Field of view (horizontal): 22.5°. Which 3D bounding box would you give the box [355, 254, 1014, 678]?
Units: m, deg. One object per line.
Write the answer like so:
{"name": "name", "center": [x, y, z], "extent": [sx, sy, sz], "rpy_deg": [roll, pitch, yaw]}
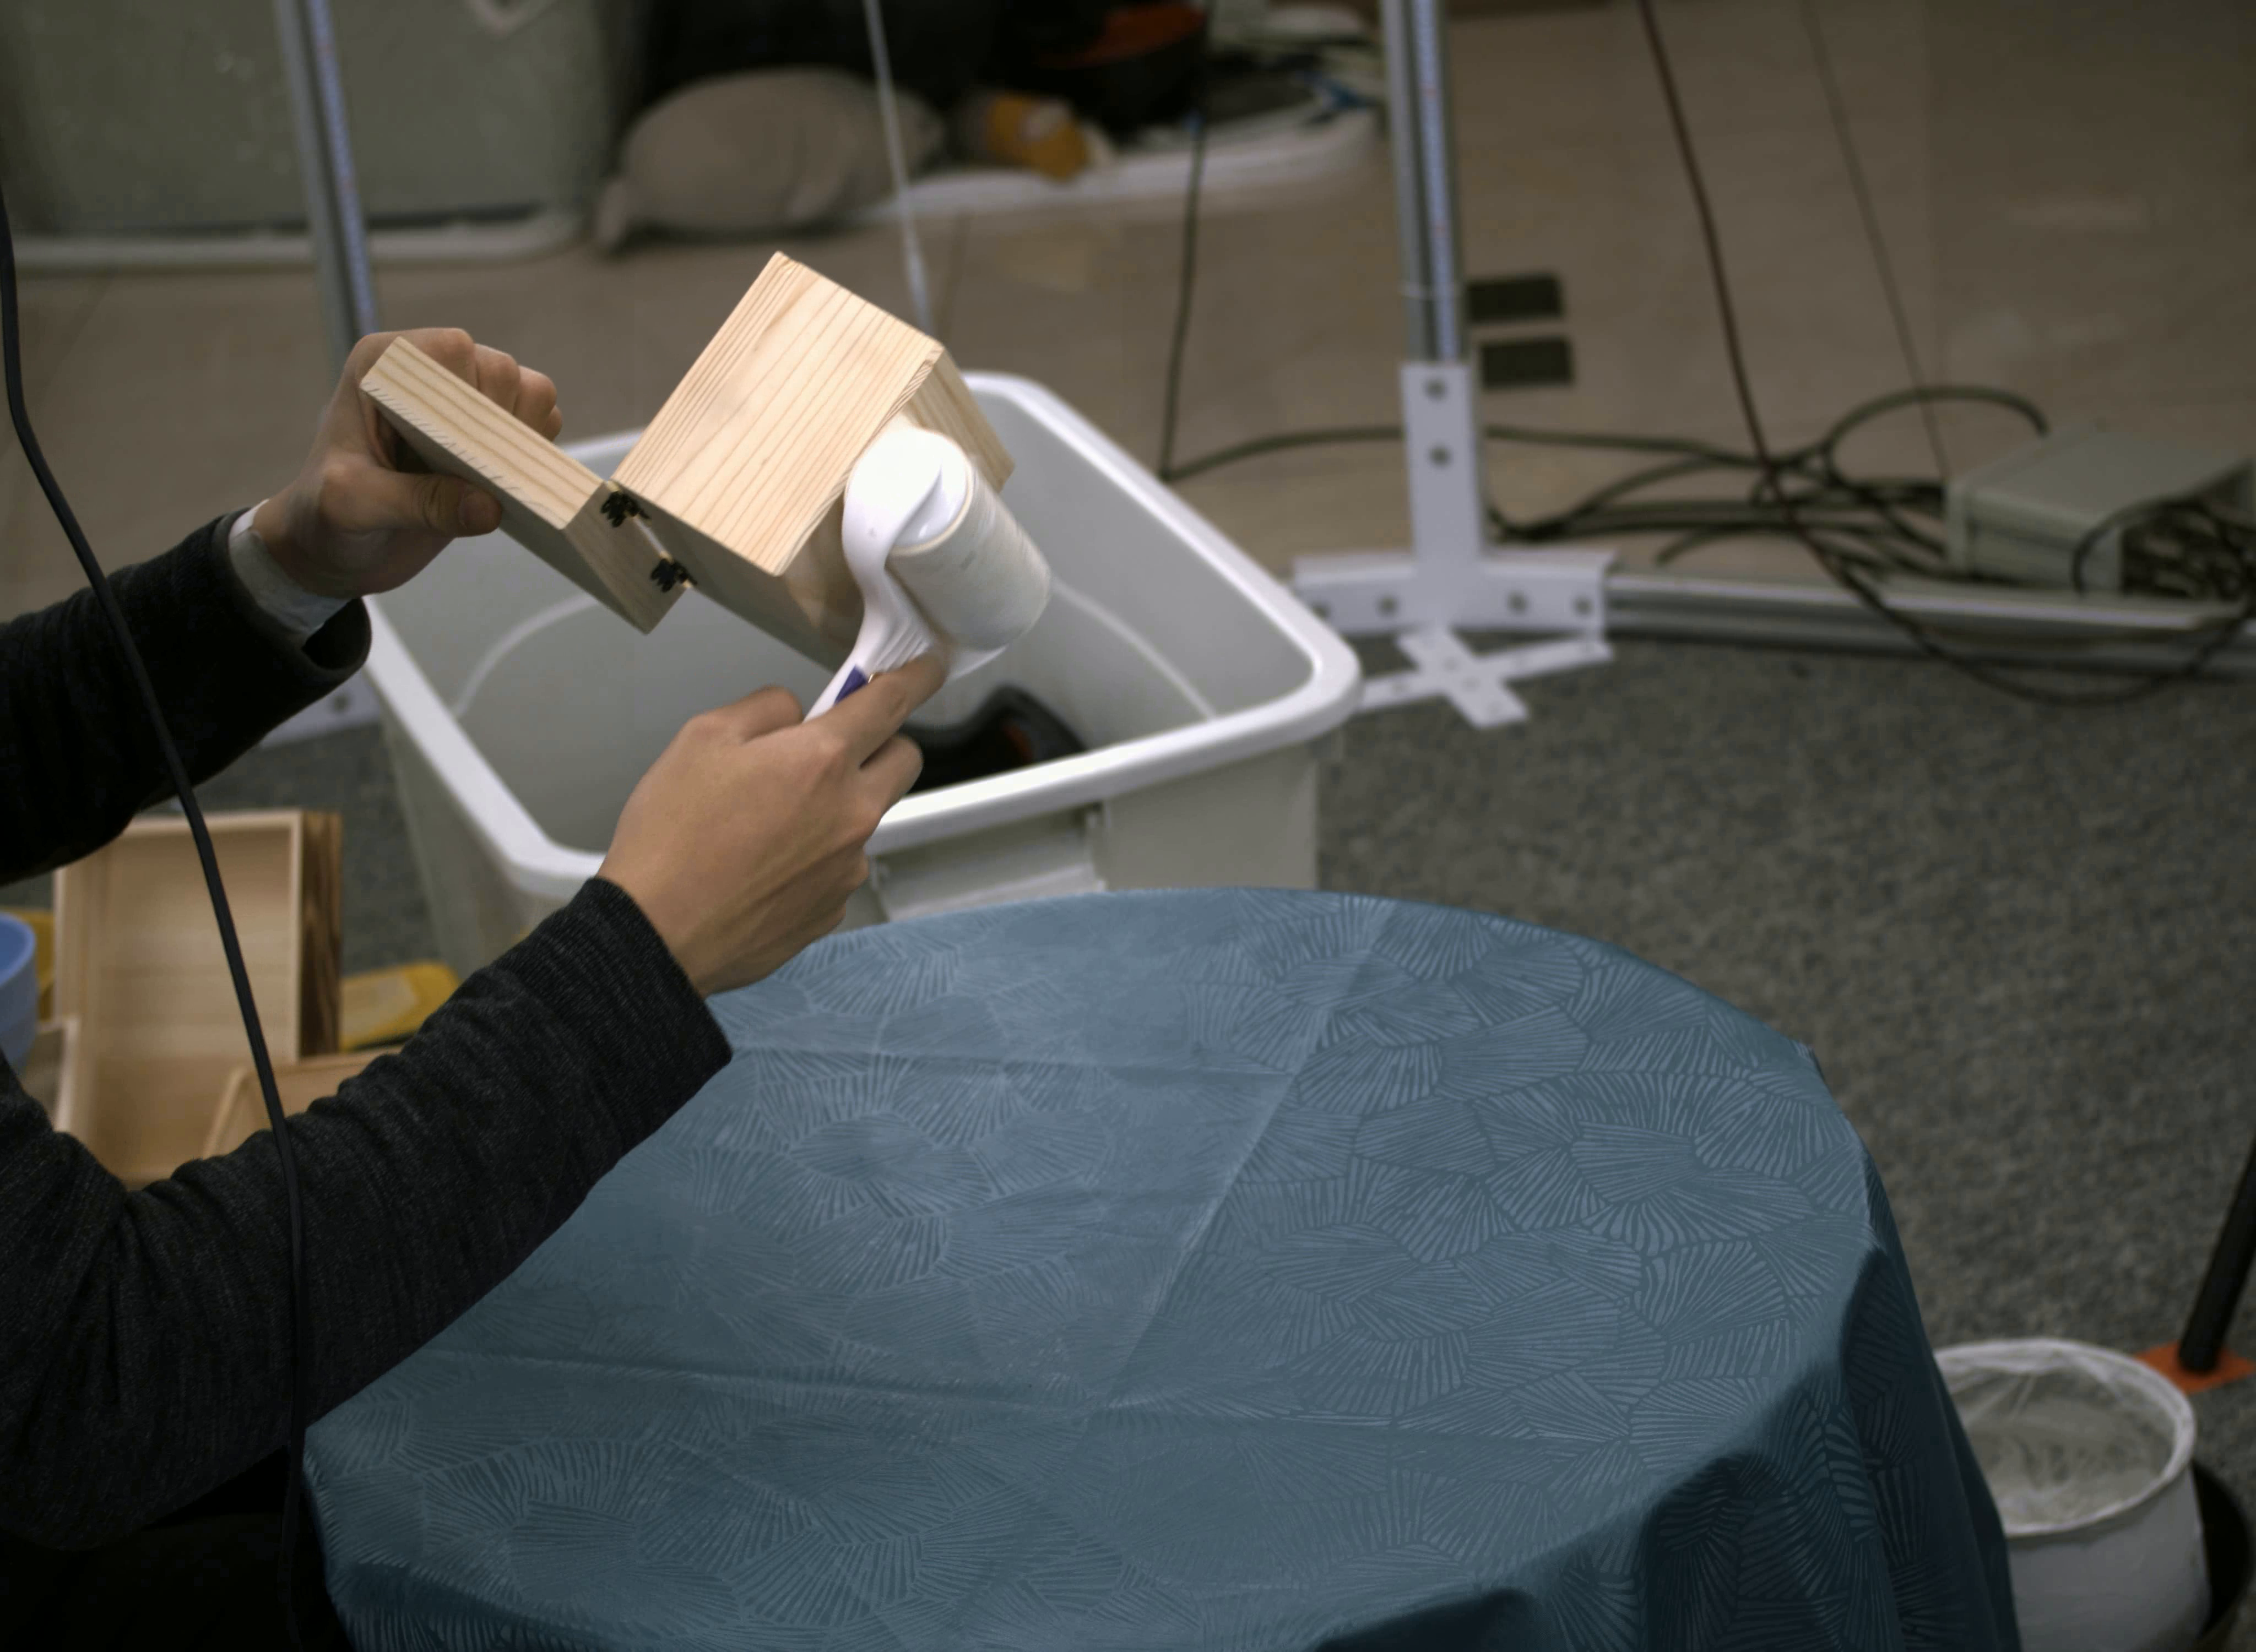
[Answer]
{"name": "box", "center": [-0.158, -0.143, 2.021], "extent": [0.183, 0.104, 0.133], "rpy_deg": [31, 80, 22]}

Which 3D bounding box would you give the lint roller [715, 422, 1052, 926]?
{"name": "lint roller", "center": [-0.089, -0.043, 1.964], "extent": [0.050, 0.134, 0.180], "rpy_deg": [19, 78, 20]}
